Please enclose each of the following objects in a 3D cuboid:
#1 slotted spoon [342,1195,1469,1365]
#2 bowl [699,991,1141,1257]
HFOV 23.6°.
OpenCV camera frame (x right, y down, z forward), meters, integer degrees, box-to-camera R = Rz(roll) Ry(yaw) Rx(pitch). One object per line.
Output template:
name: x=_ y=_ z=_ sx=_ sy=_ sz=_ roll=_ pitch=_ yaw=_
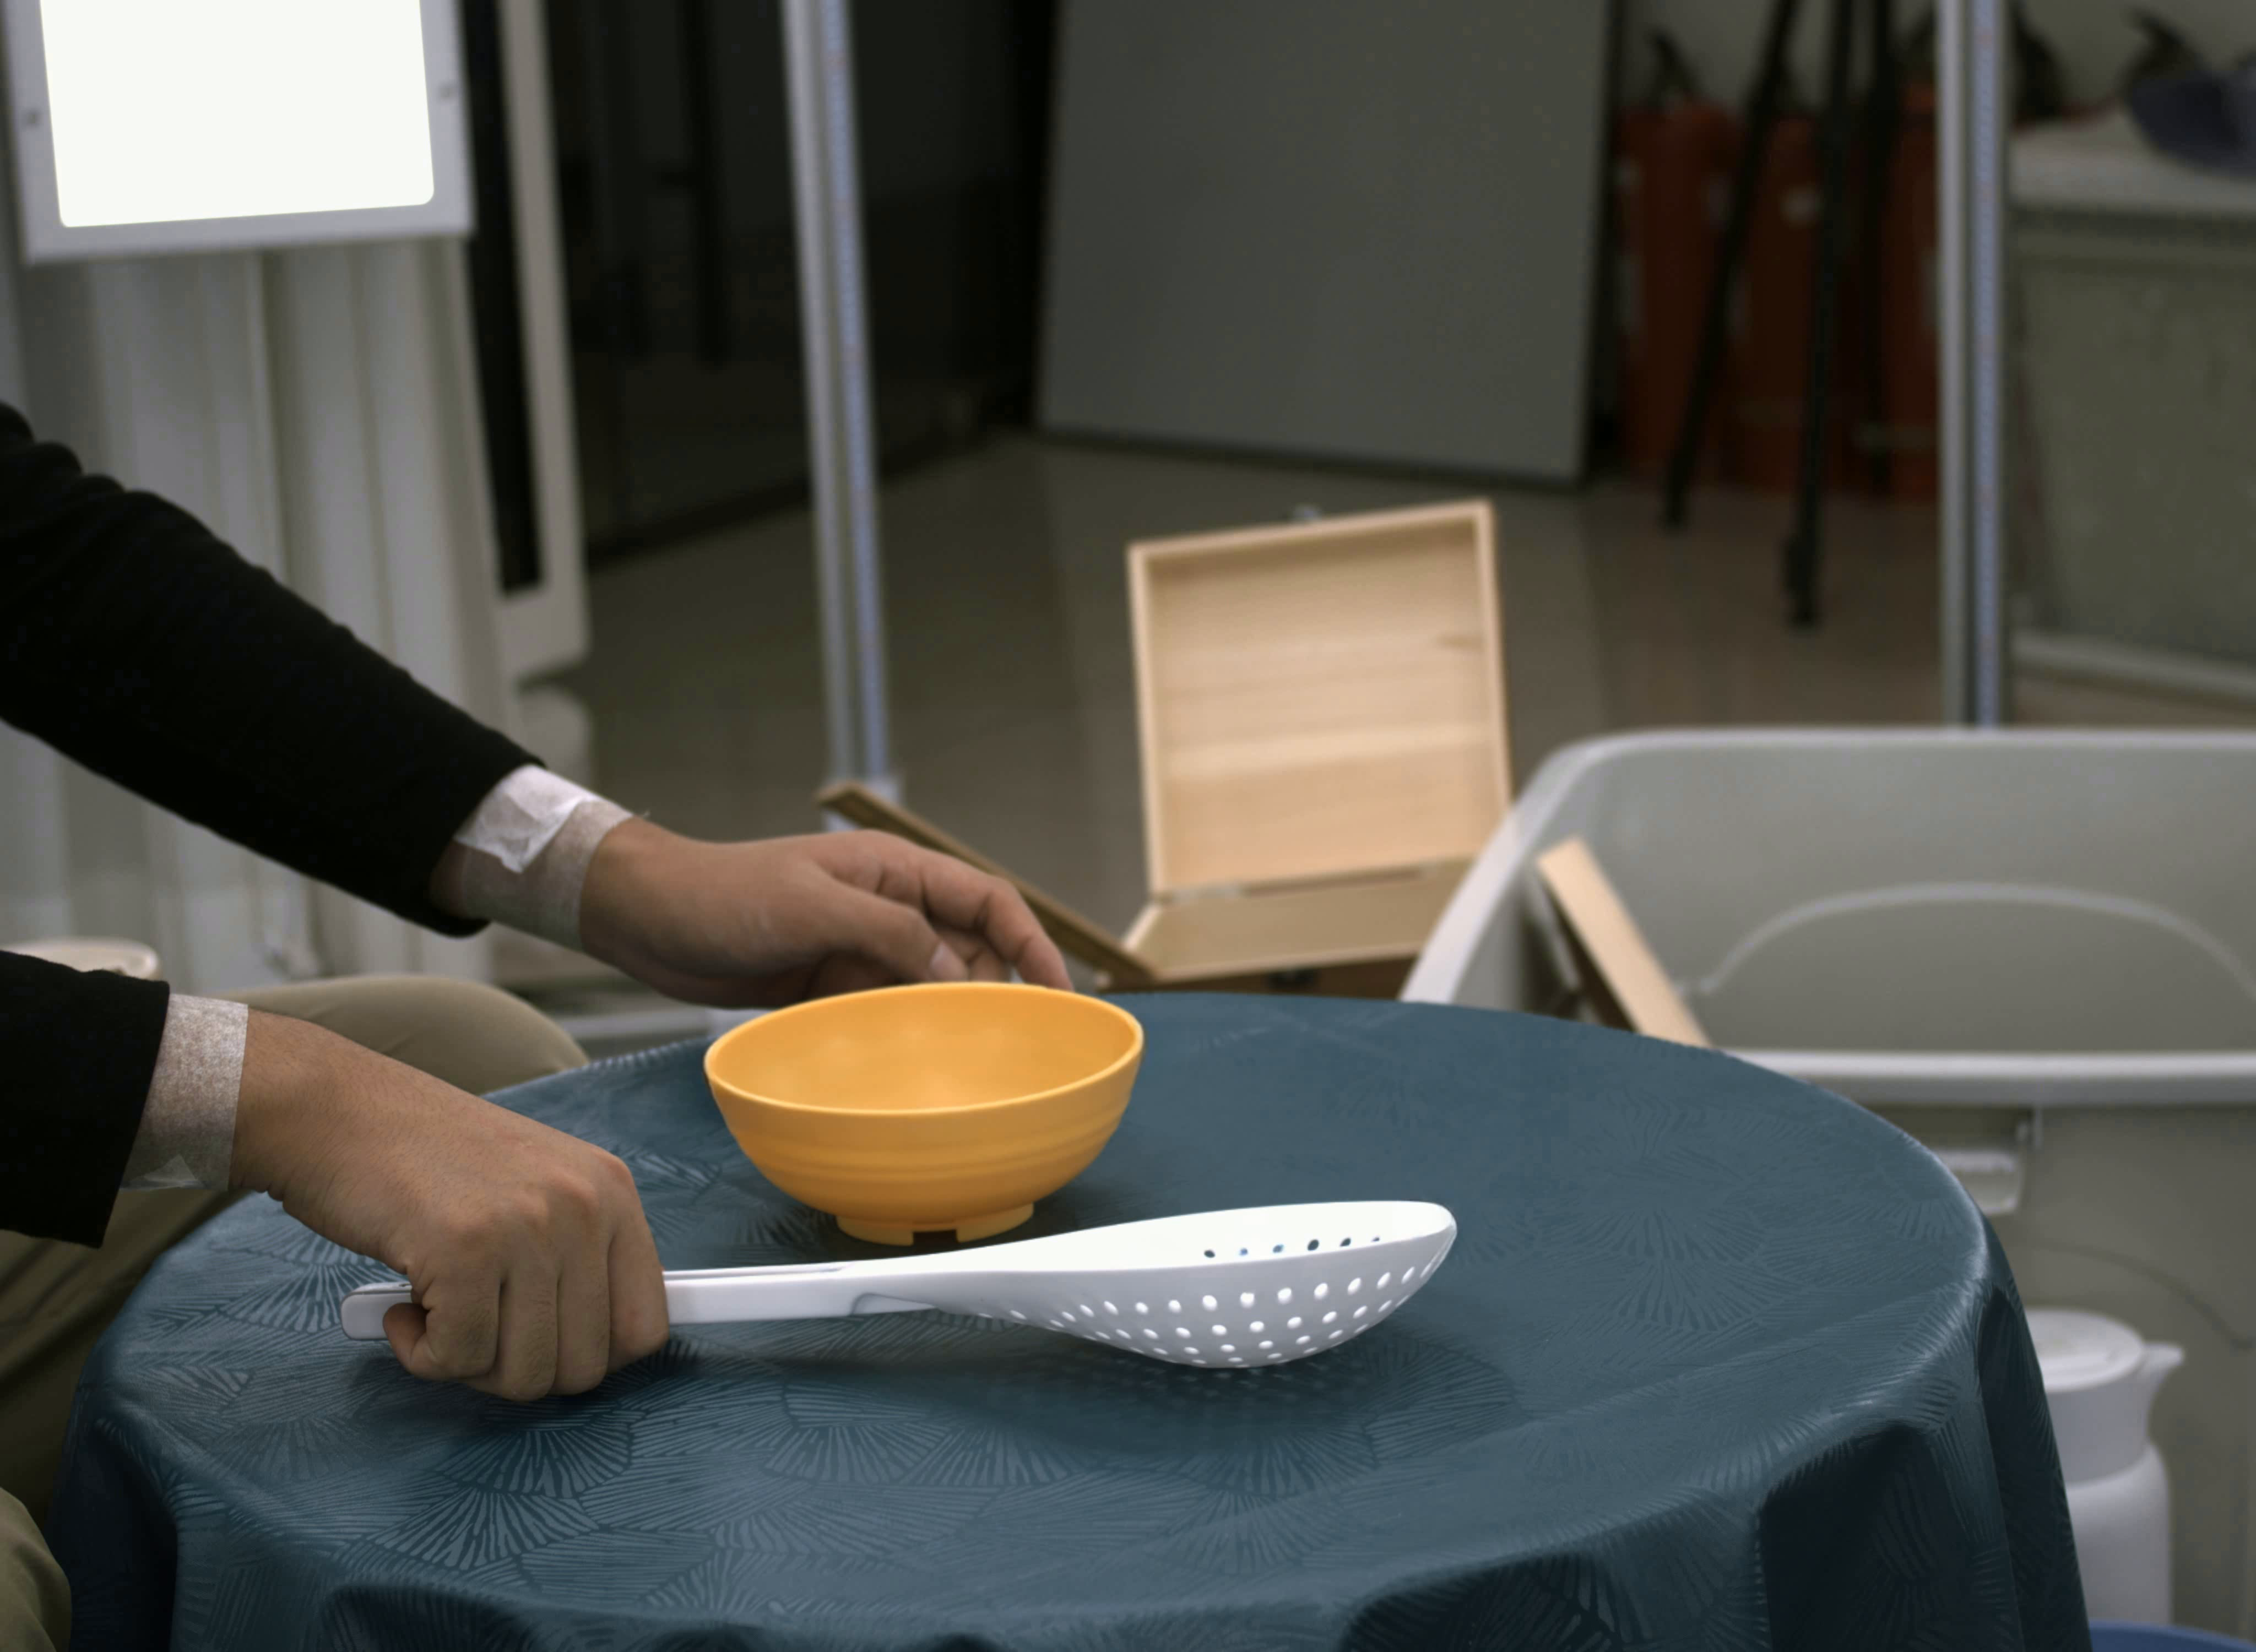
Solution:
slotted spoon: x=-0.069 y=0.137 z=1.617 sx=0.348 sy=0.046 sz=0.135 roll=-1 pitch=2 yaw=13
bowl: x=-0.066 y=0.101 z=1.754 sx=0.143 sy=0.061 sz=0.145 roll=-2 pitch=13 yaw=0
